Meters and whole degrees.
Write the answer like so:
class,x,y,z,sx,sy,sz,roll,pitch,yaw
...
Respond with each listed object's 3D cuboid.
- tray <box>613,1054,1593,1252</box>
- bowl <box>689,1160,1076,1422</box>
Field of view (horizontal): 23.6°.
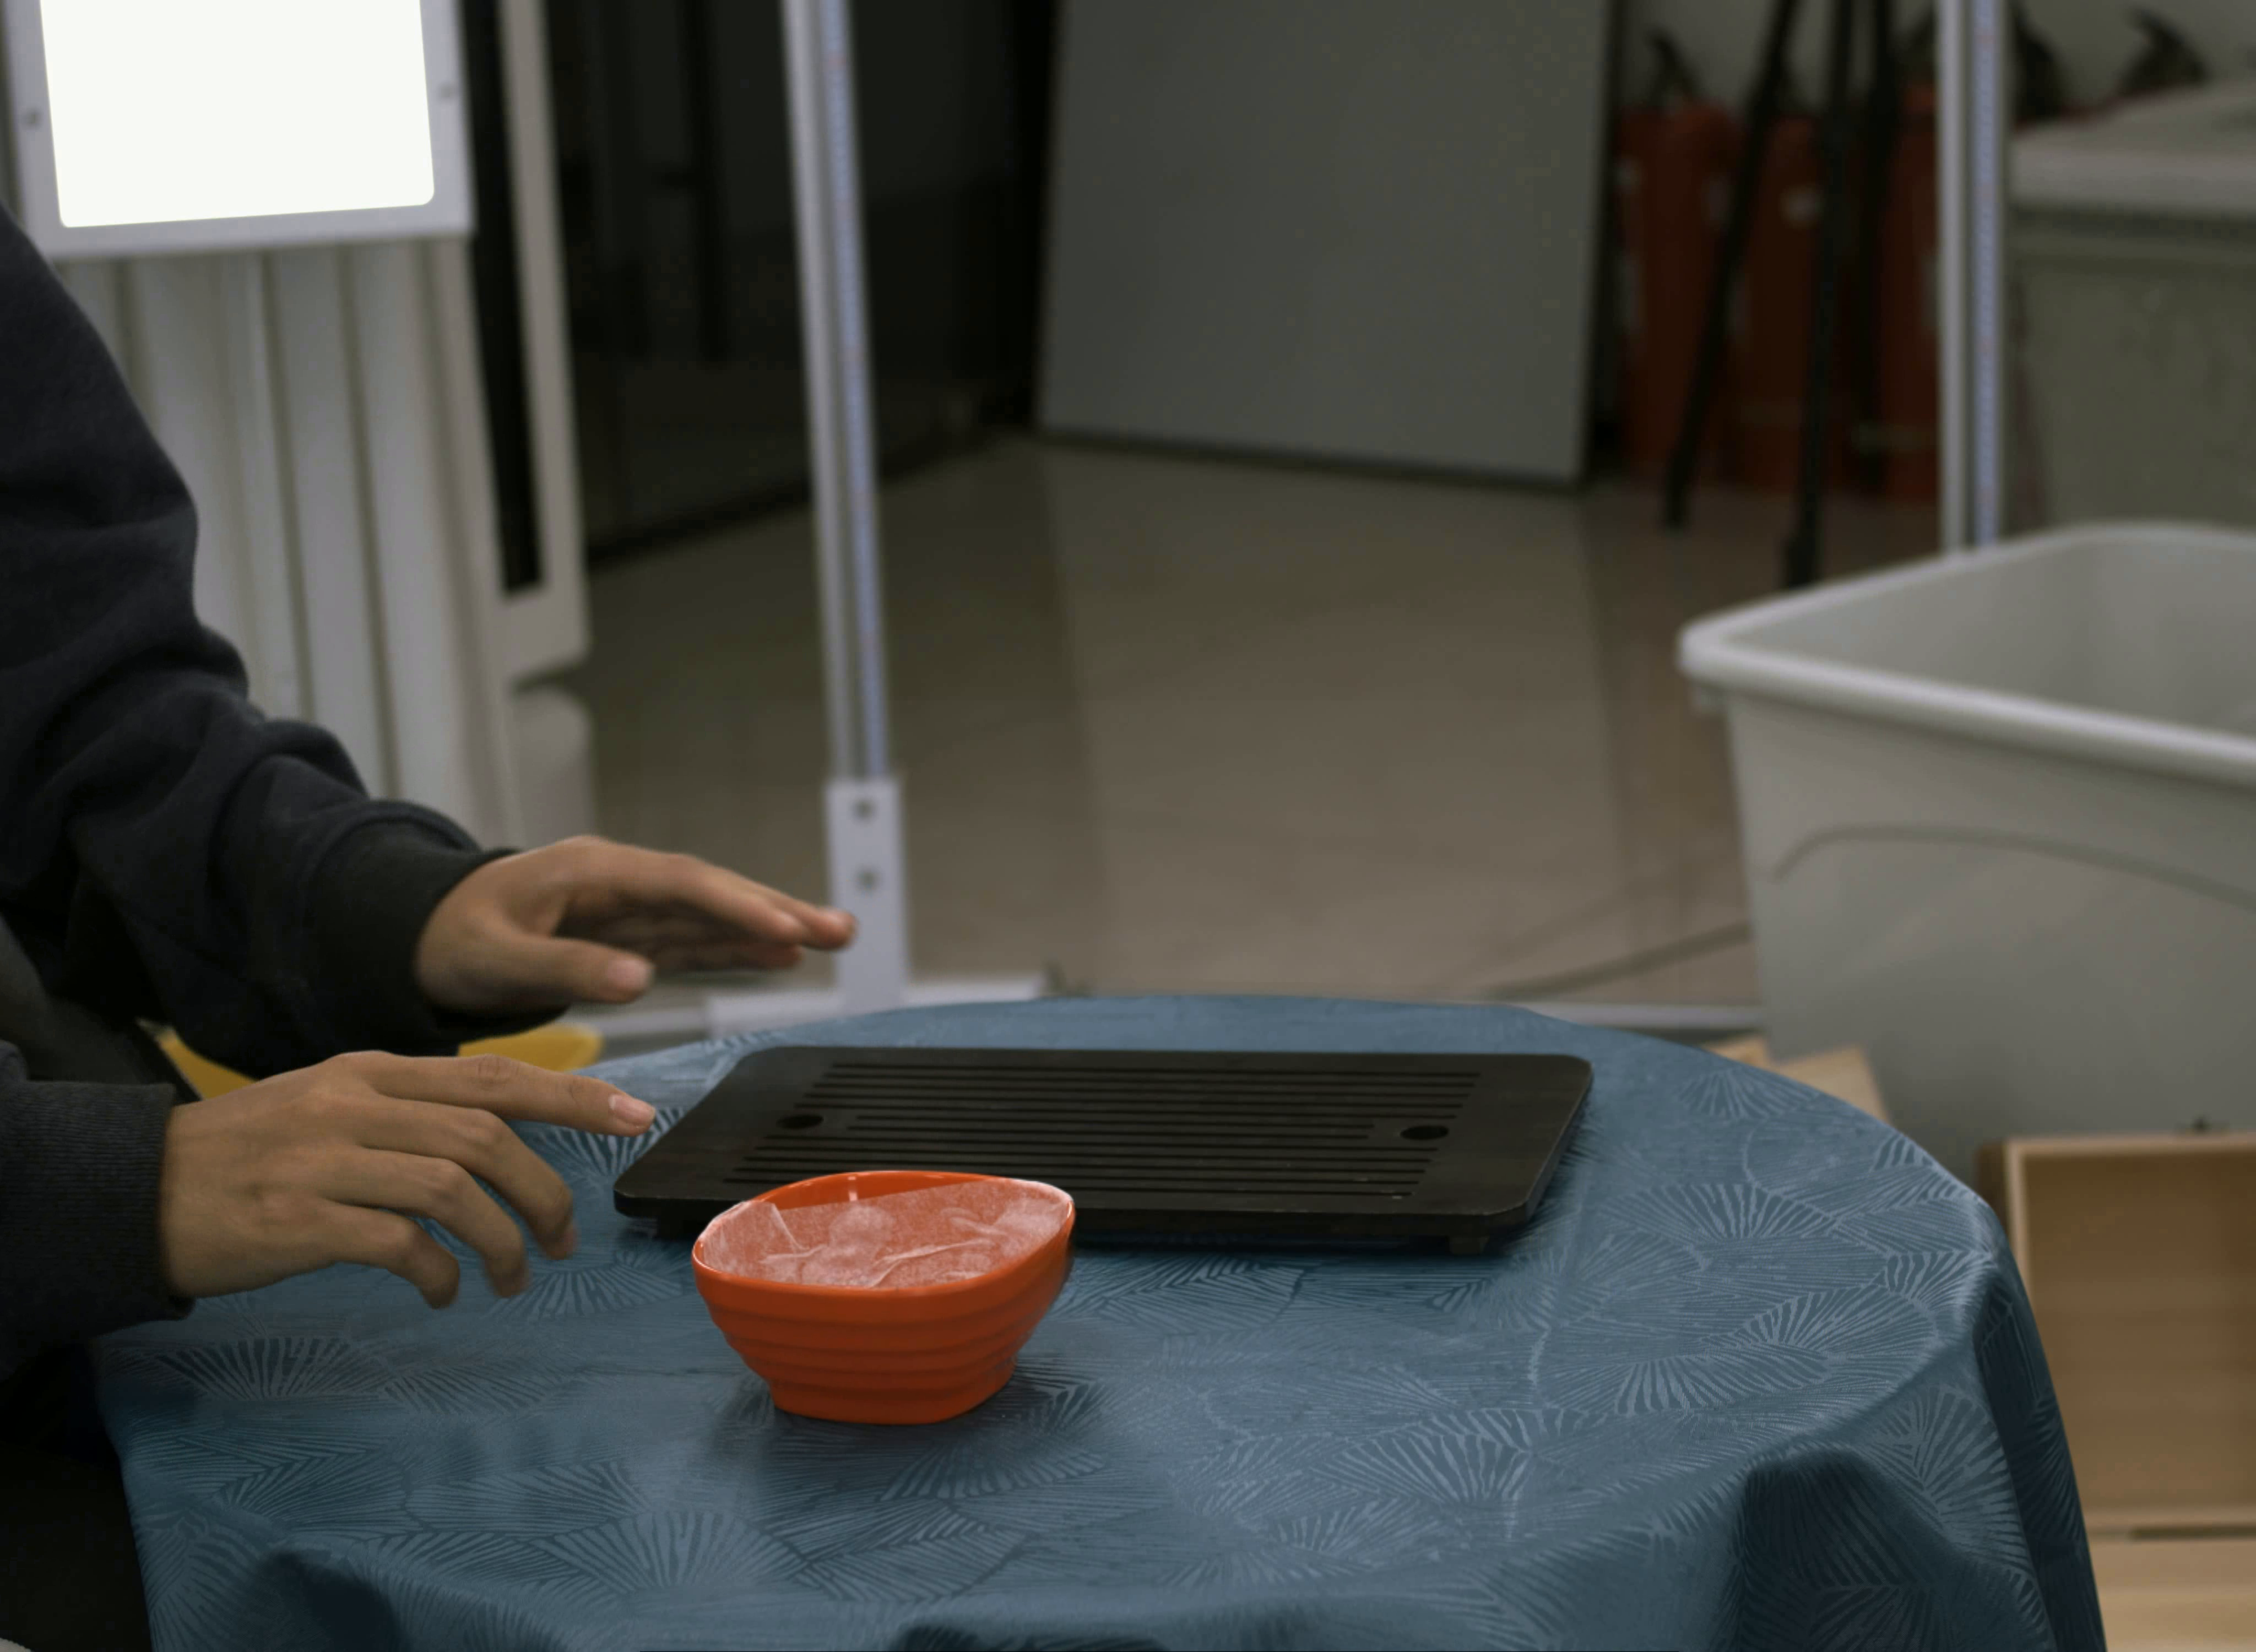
class,x,y,z,sx,sy,sz,roll,pitch,yaw
tray,-0.005,0.107,1.789,0.304,0.019,0.169,-1,14,15
bowl,-0.071,0.140,1.596,0.117,0.052,0.119,-3,15,0
